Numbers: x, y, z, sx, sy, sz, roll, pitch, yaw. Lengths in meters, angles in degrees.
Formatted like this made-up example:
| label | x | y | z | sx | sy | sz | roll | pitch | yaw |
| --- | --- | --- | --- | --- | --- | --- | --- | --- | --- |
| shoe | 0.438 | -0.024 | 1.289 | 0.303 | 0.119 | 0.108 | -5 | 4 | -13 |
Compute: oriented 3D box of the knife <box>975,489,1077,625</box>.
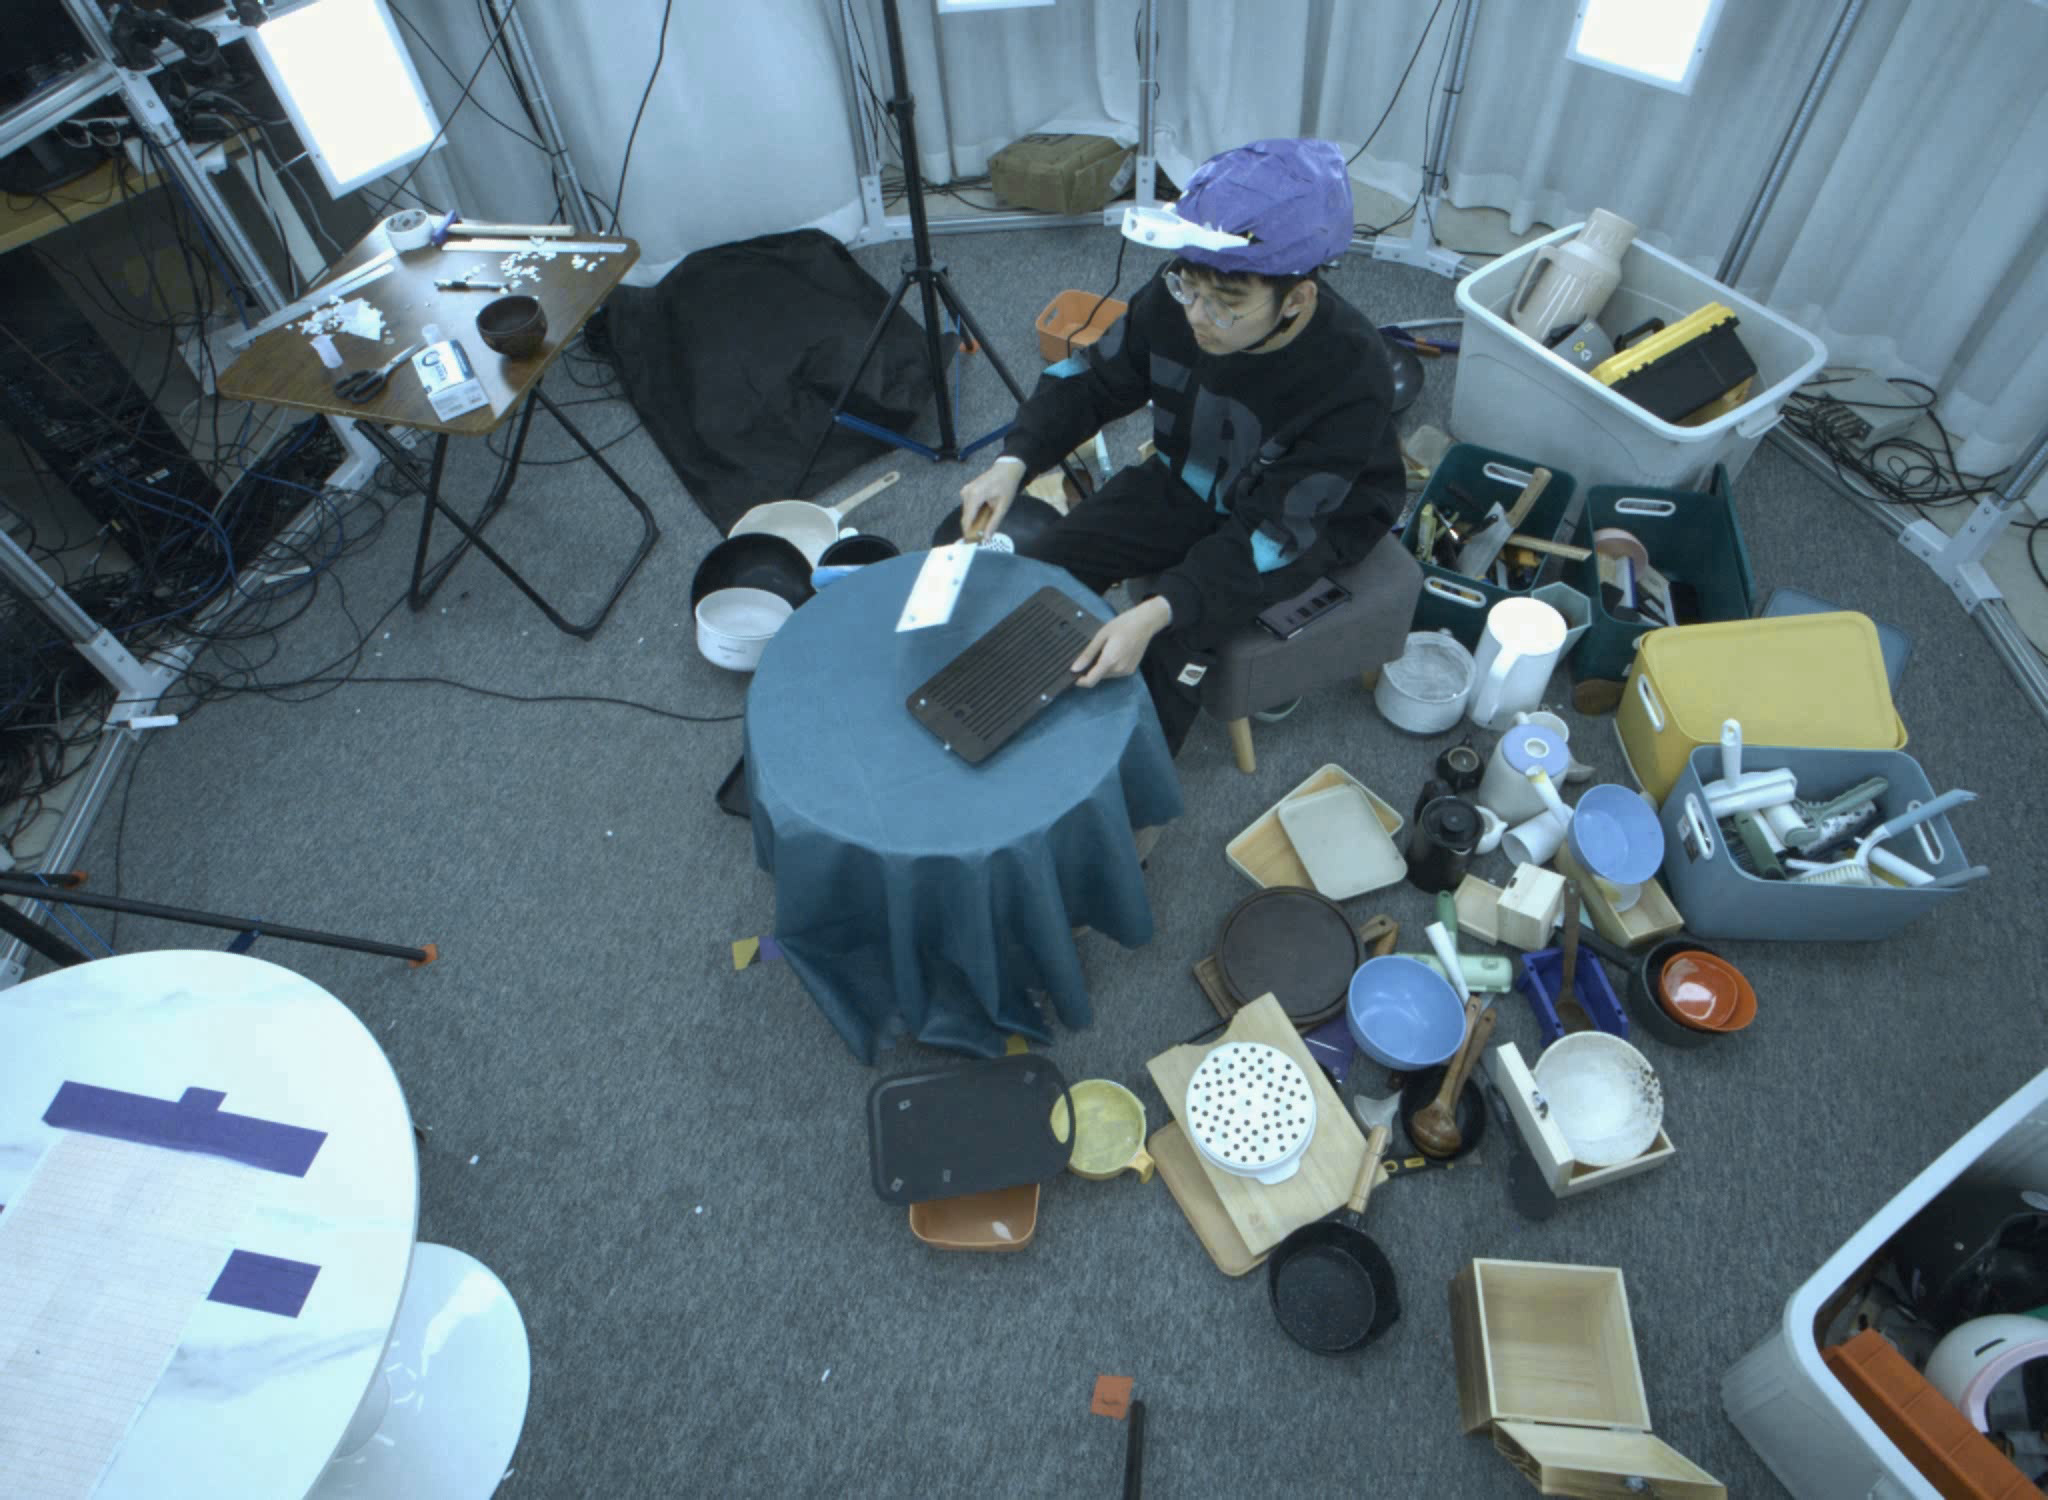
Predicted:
| label | x | y | z | sx | sy | sz | roll | pitch | yaw |
| --- | --- | --- | --- | --- | --- | --- | --- | --- | --- |
| knife | 0.000 | -0.297 | 1.877 | 0.091 | 0.021 | 0.305 | -3 | 46 | 32 |

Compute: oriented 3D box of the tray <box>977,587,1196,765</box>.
| label | x | y | z | sx | sy | sz | roll | pitch | yaw |
| --- | --- | --- | --- | --- | --- | --- | --- | --- | --- |
| tray | 0.093 | -0.113 | 1.832 | 0.307 | 0.019 | 0.167 | -37 | 59 | -14 |
